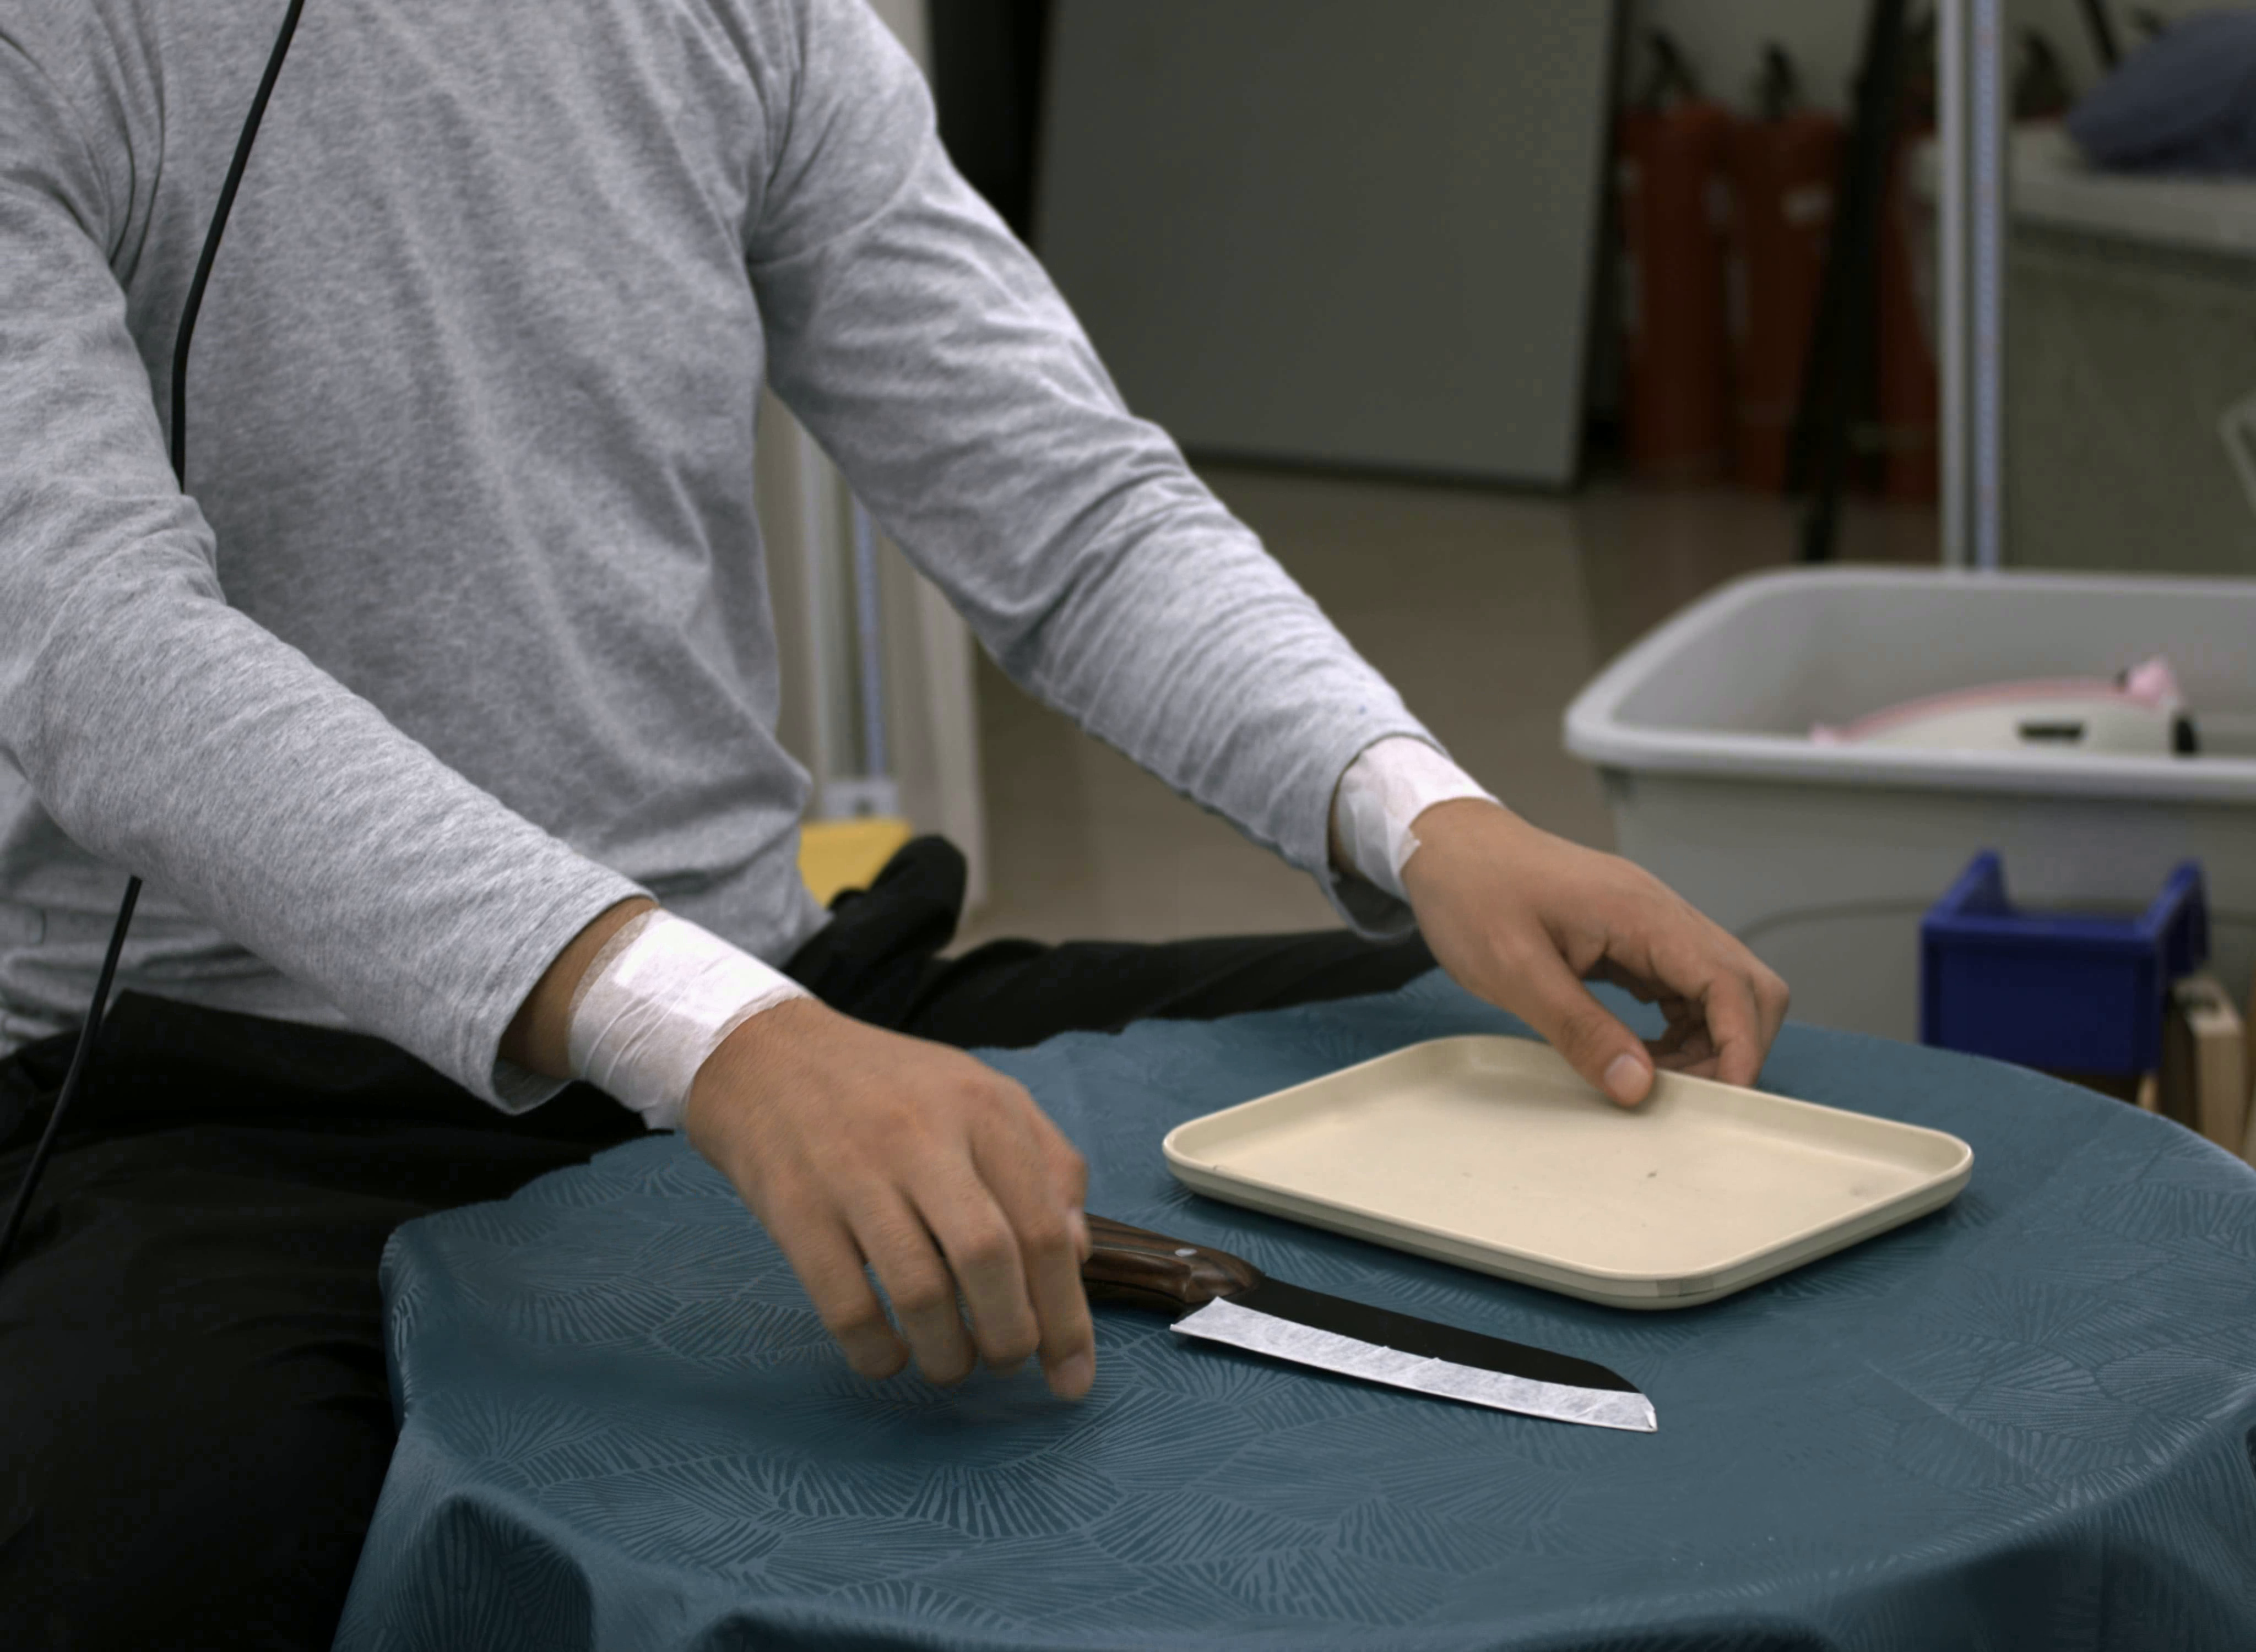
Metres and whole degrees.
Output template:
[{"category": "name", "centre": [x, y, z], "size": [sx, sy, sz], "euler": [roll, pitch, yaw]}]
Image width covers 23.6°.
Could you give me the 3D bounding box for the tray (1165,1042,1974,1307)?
[{"category": "tray", "centre": [0.141, 0.111, 1.738], "size": [0.167, 0.017, 0.242], "euler": [-15, 17, -39]}]

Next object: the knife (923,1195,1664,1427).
[{"category": "knife", "centre": [0.045, 0.148, 1.622], "size": [0.291, 0.020, 0.049], "euler": [11, 25, 41]}]
